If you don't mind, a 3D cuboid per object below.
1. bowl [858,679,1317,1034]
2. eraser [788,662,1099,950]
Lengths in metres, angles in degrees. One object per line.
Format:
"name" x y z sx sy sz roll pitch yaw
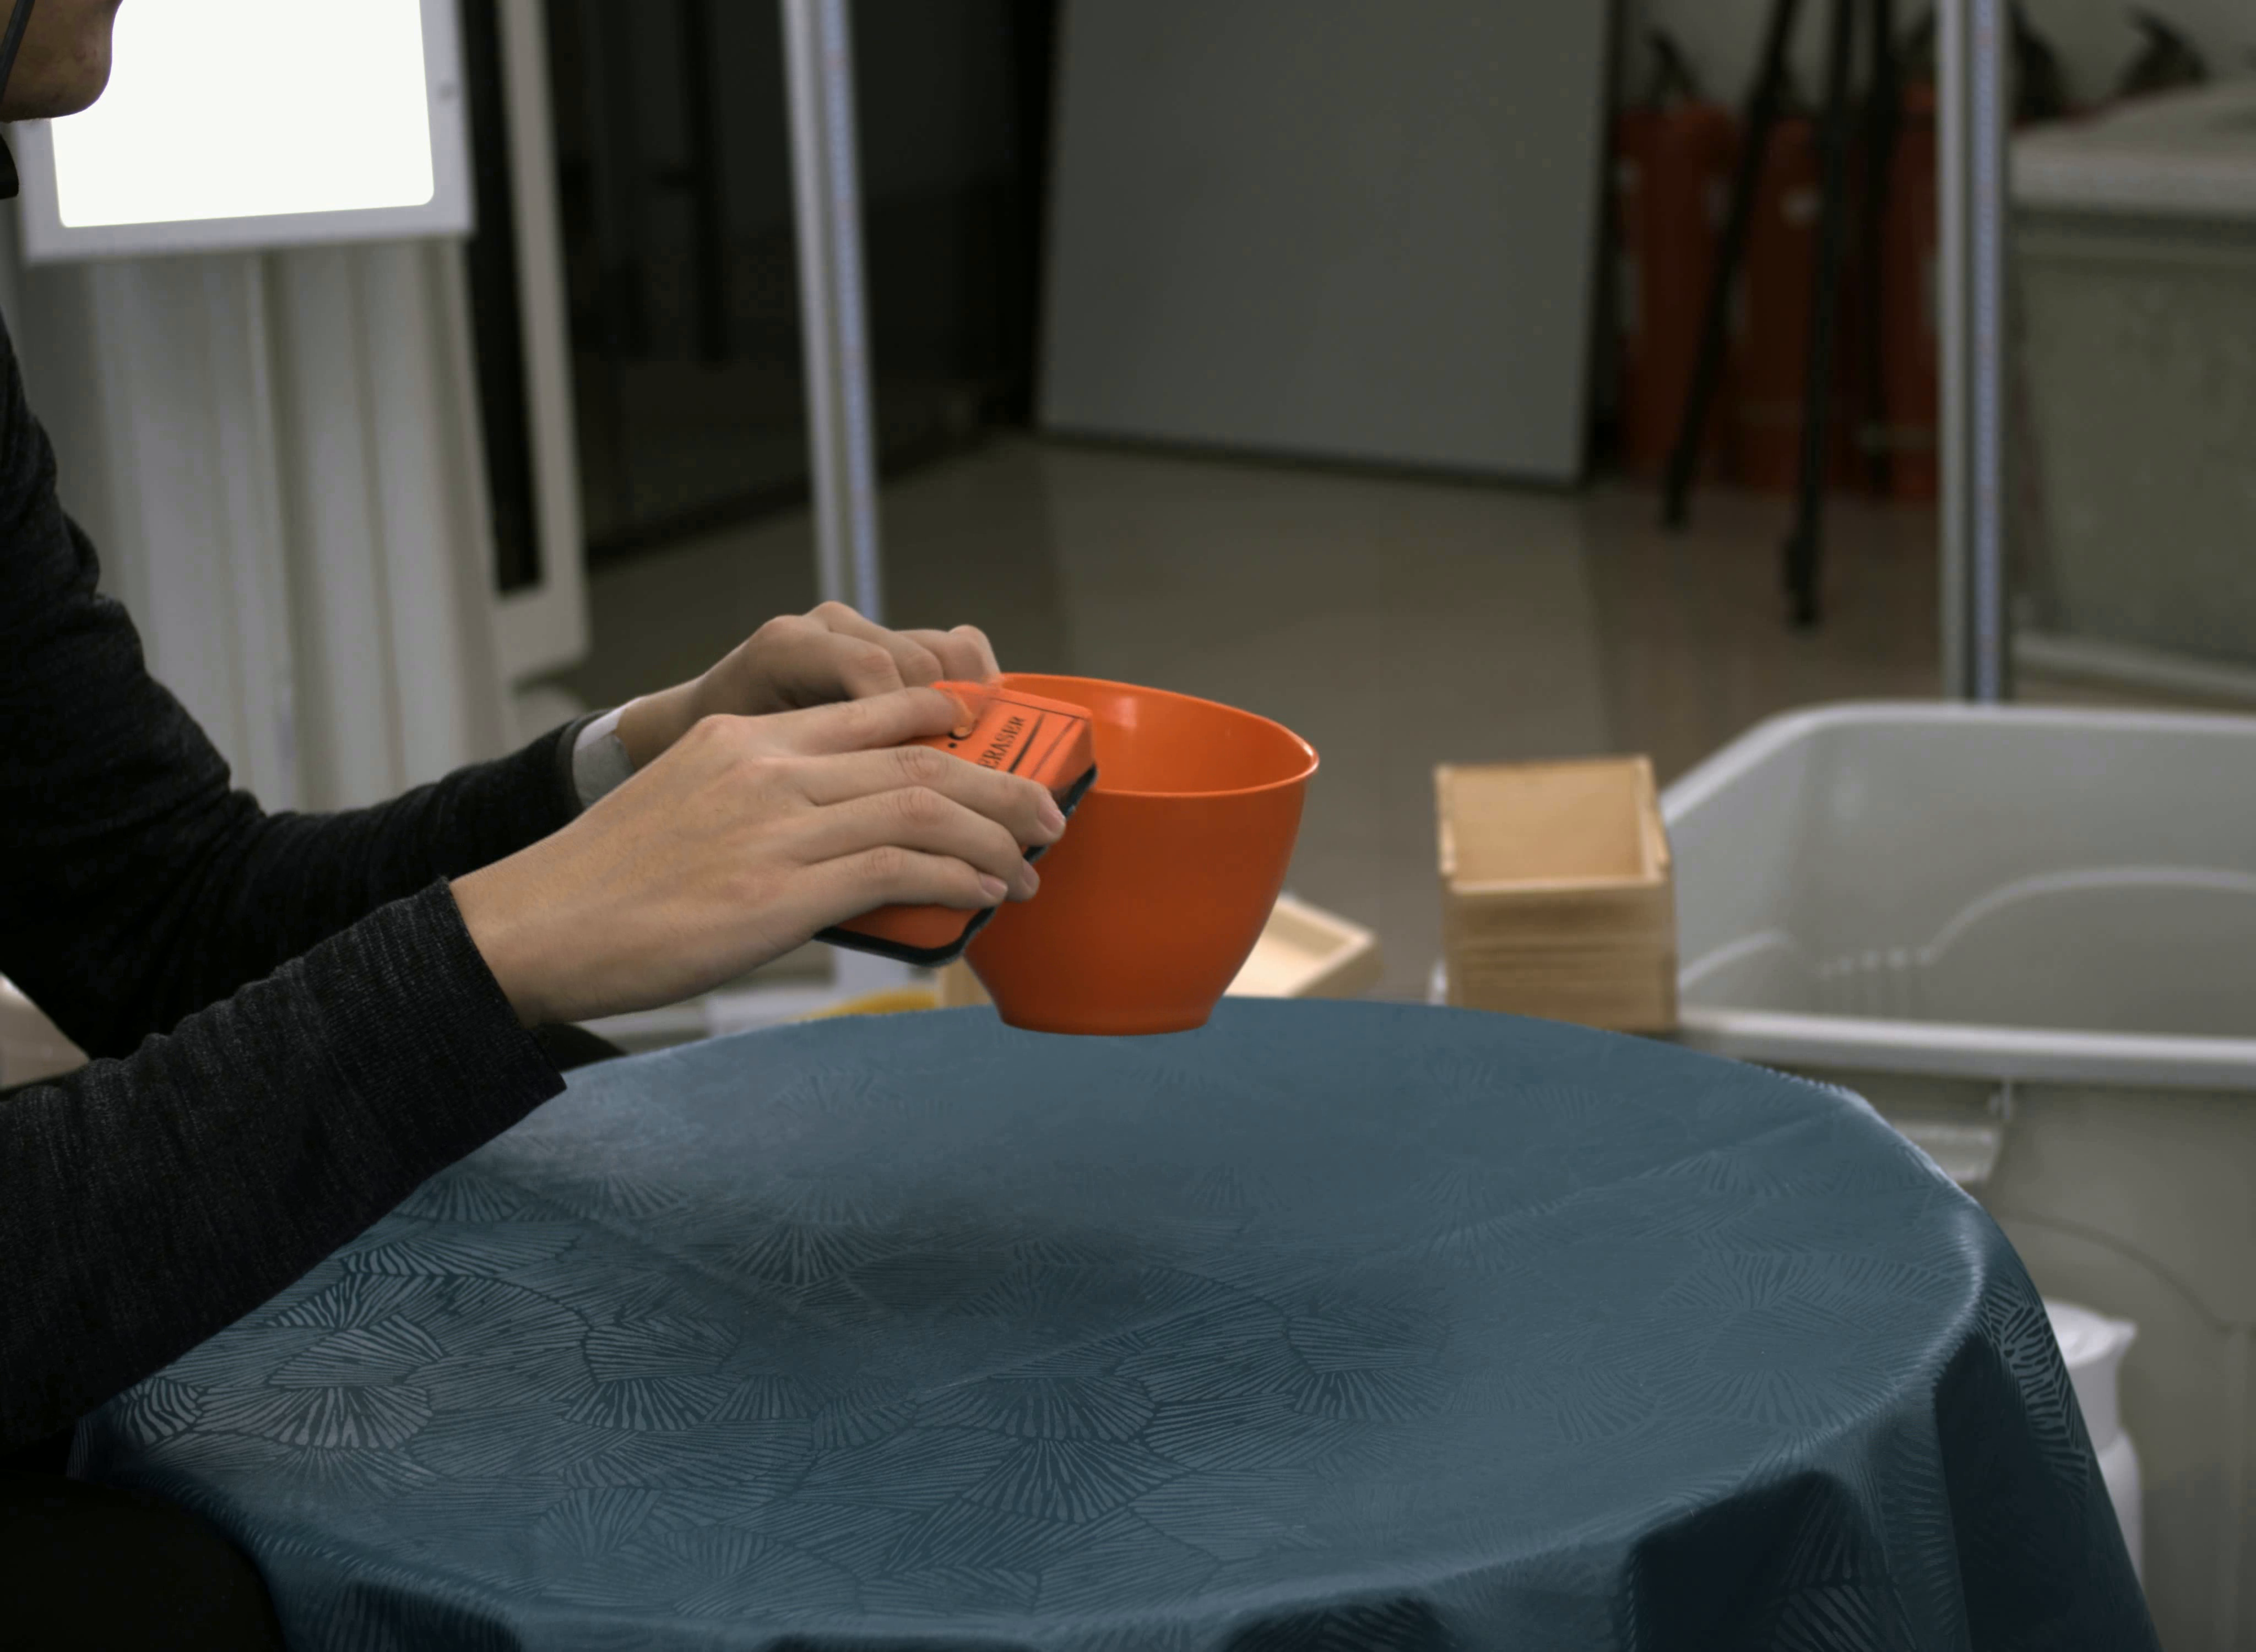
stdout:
"bowl" -0.013 0.010 1.704 0.146 0.106 0.148 1 4 -1
"eraser" -0.054 -0.007 1.597 0.059 0.023 0.107 13 40 23
